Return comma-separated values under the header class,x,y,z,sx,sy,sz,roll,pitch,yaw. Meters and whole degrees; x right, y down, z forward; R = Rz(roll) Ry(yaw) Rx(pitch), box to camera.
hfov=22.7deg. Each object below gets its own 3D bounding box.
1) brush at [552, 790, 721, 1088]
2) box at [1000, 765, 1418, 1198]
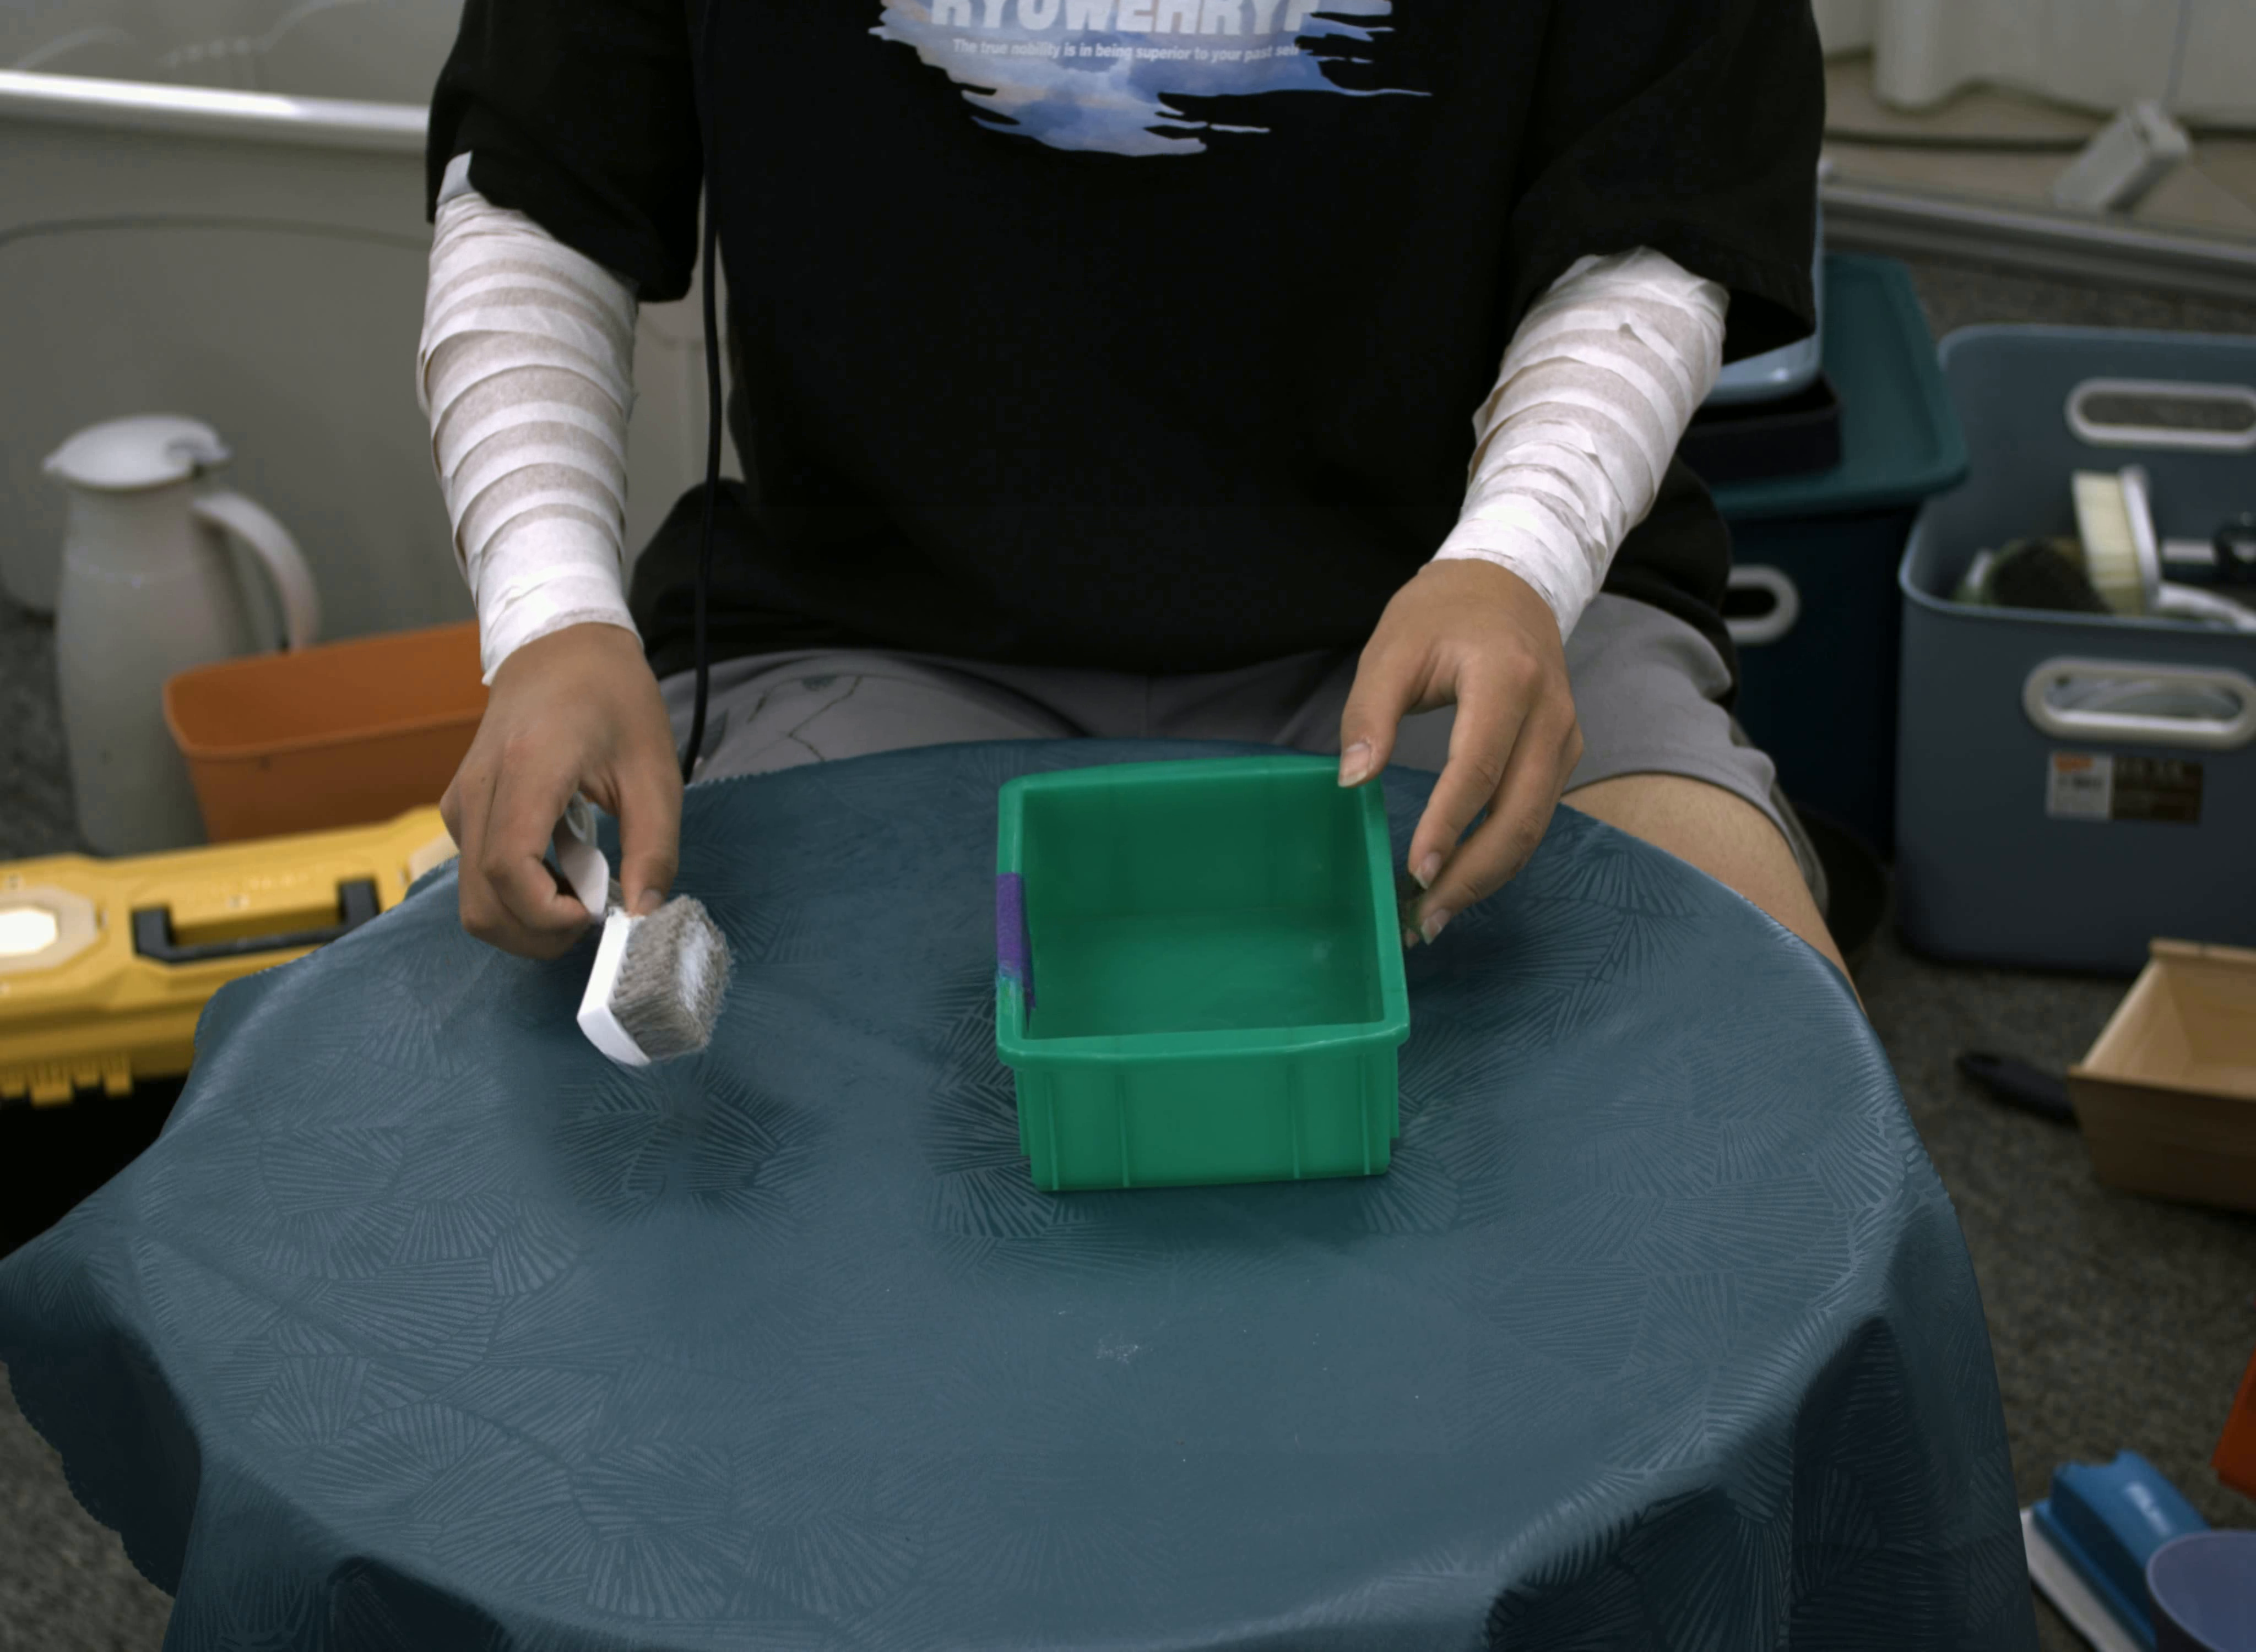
class,x,y,z,sx,sy,sz,roll,pitch,yaw
brush,-0.174,0.027,1.974,0.050,0.034,0.246,-31,22,4
box,0.026,0.054,1.926,0.138,0.064,0.213,-5,26,0
